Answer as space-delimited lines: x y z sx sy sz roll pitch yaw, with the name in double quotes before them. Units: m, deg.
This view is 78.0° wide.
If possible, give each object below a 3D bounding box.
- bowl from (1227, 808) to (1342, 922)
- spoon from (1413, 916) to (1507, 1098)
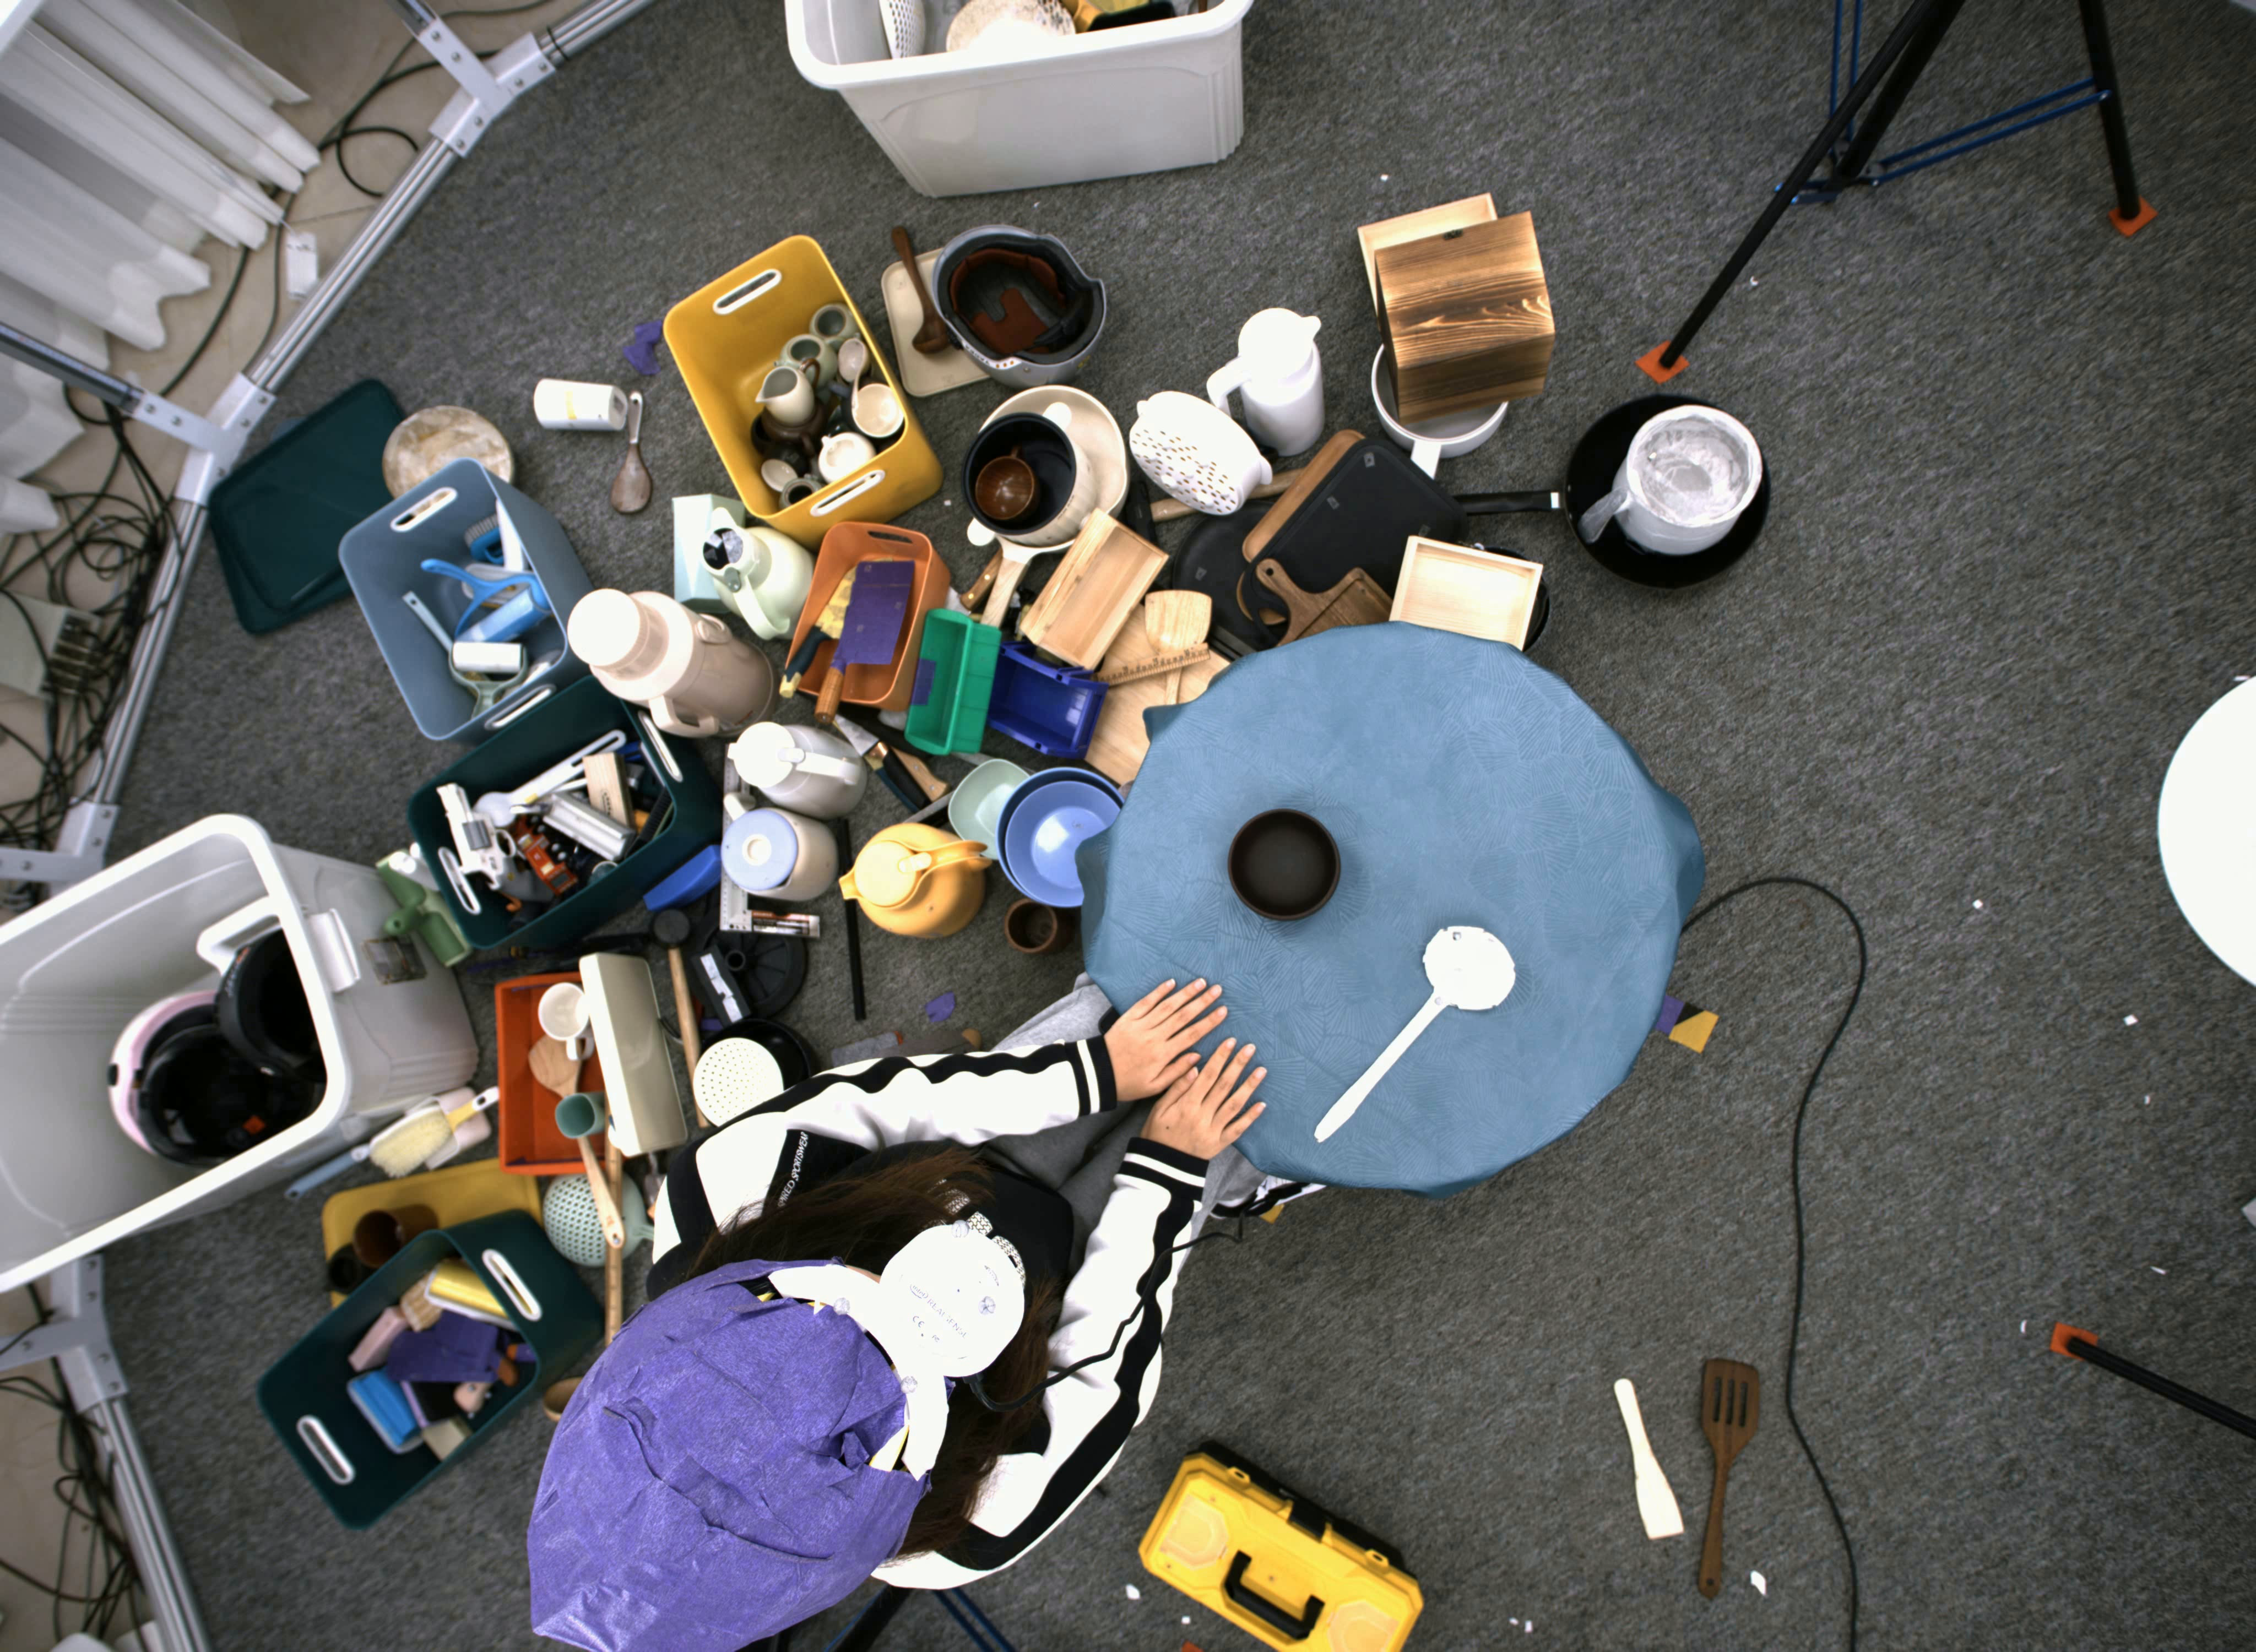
"bowl" 0.164 0.042 1.445 0.118 0.070 0.117 -1 86 11
"spoon" 0.363 0.202 1.492 0.100 0.283 0.058 20 59 31
